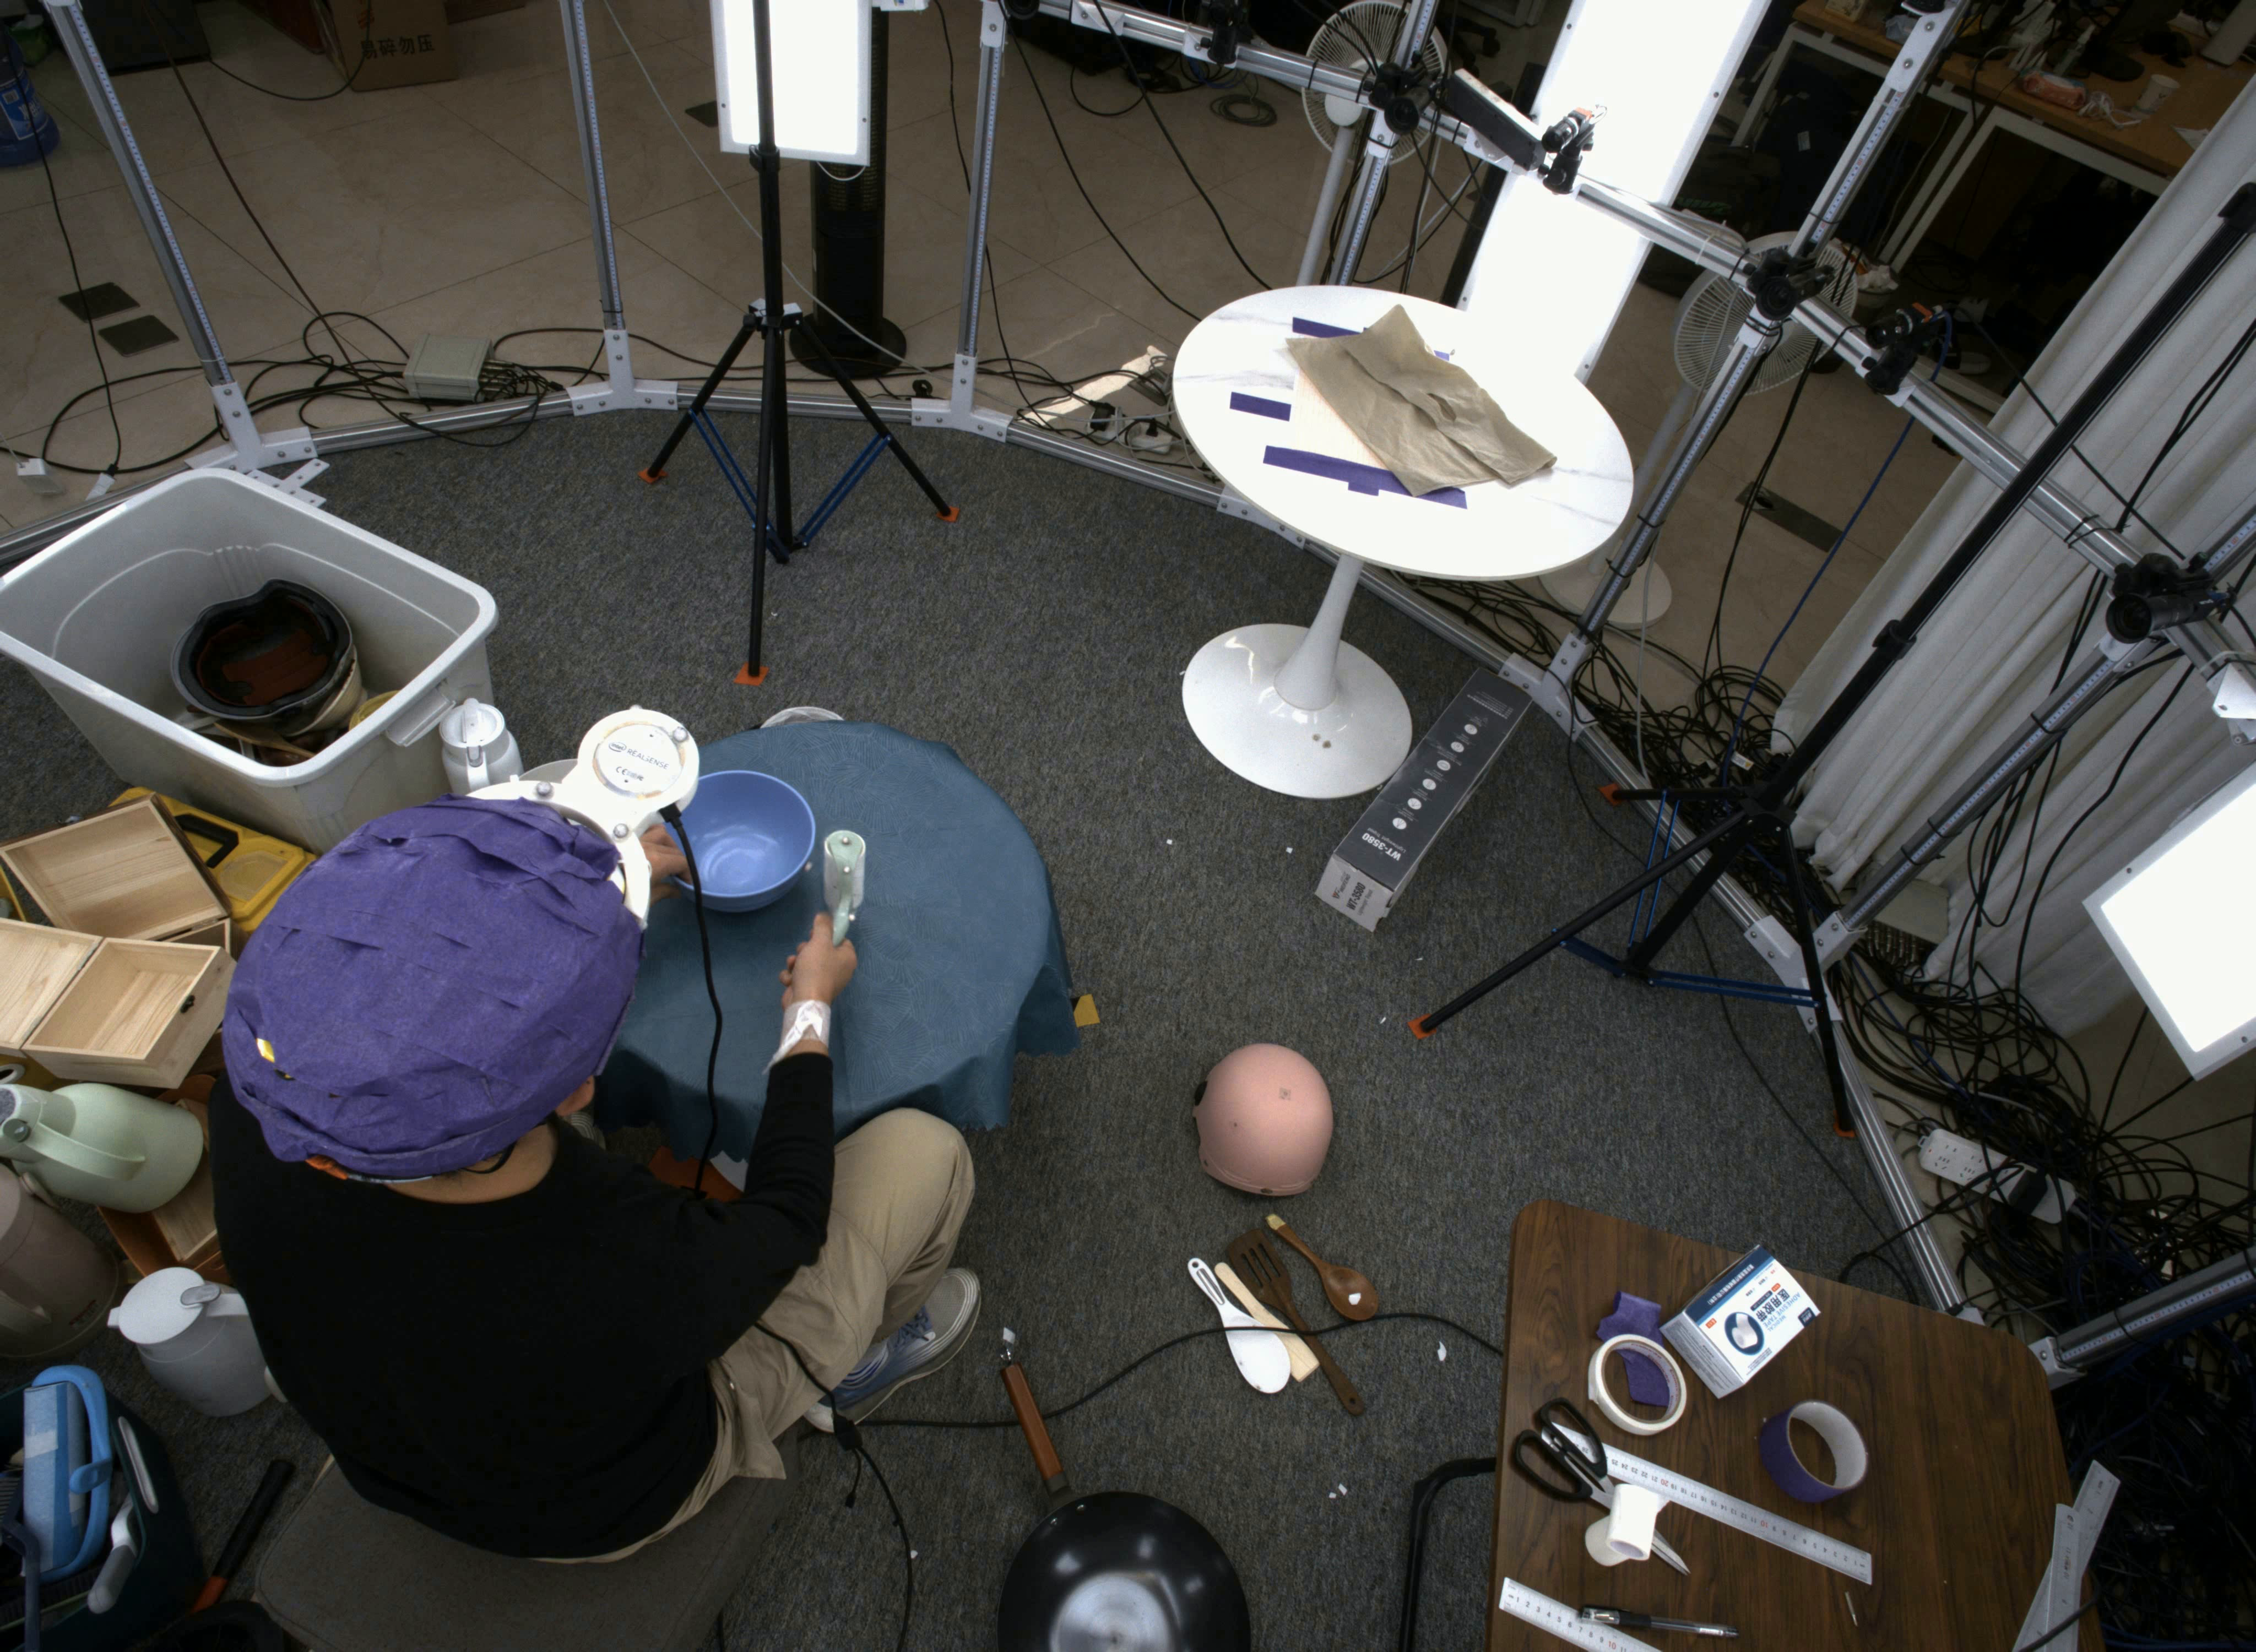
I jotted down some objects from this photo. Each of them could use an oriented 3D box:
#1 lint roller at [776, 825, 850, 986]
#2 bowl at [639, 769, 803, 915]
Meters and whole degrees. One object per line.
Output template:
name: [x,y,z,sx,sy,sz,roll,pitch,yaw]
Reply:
lint roller: [-0.366,0.101,1.515,0.048,0.119,0.194,11,49,-6]
bowl: [-0.504,0.034,1.608,0.196,0.097,0.193,9,51,-9]
